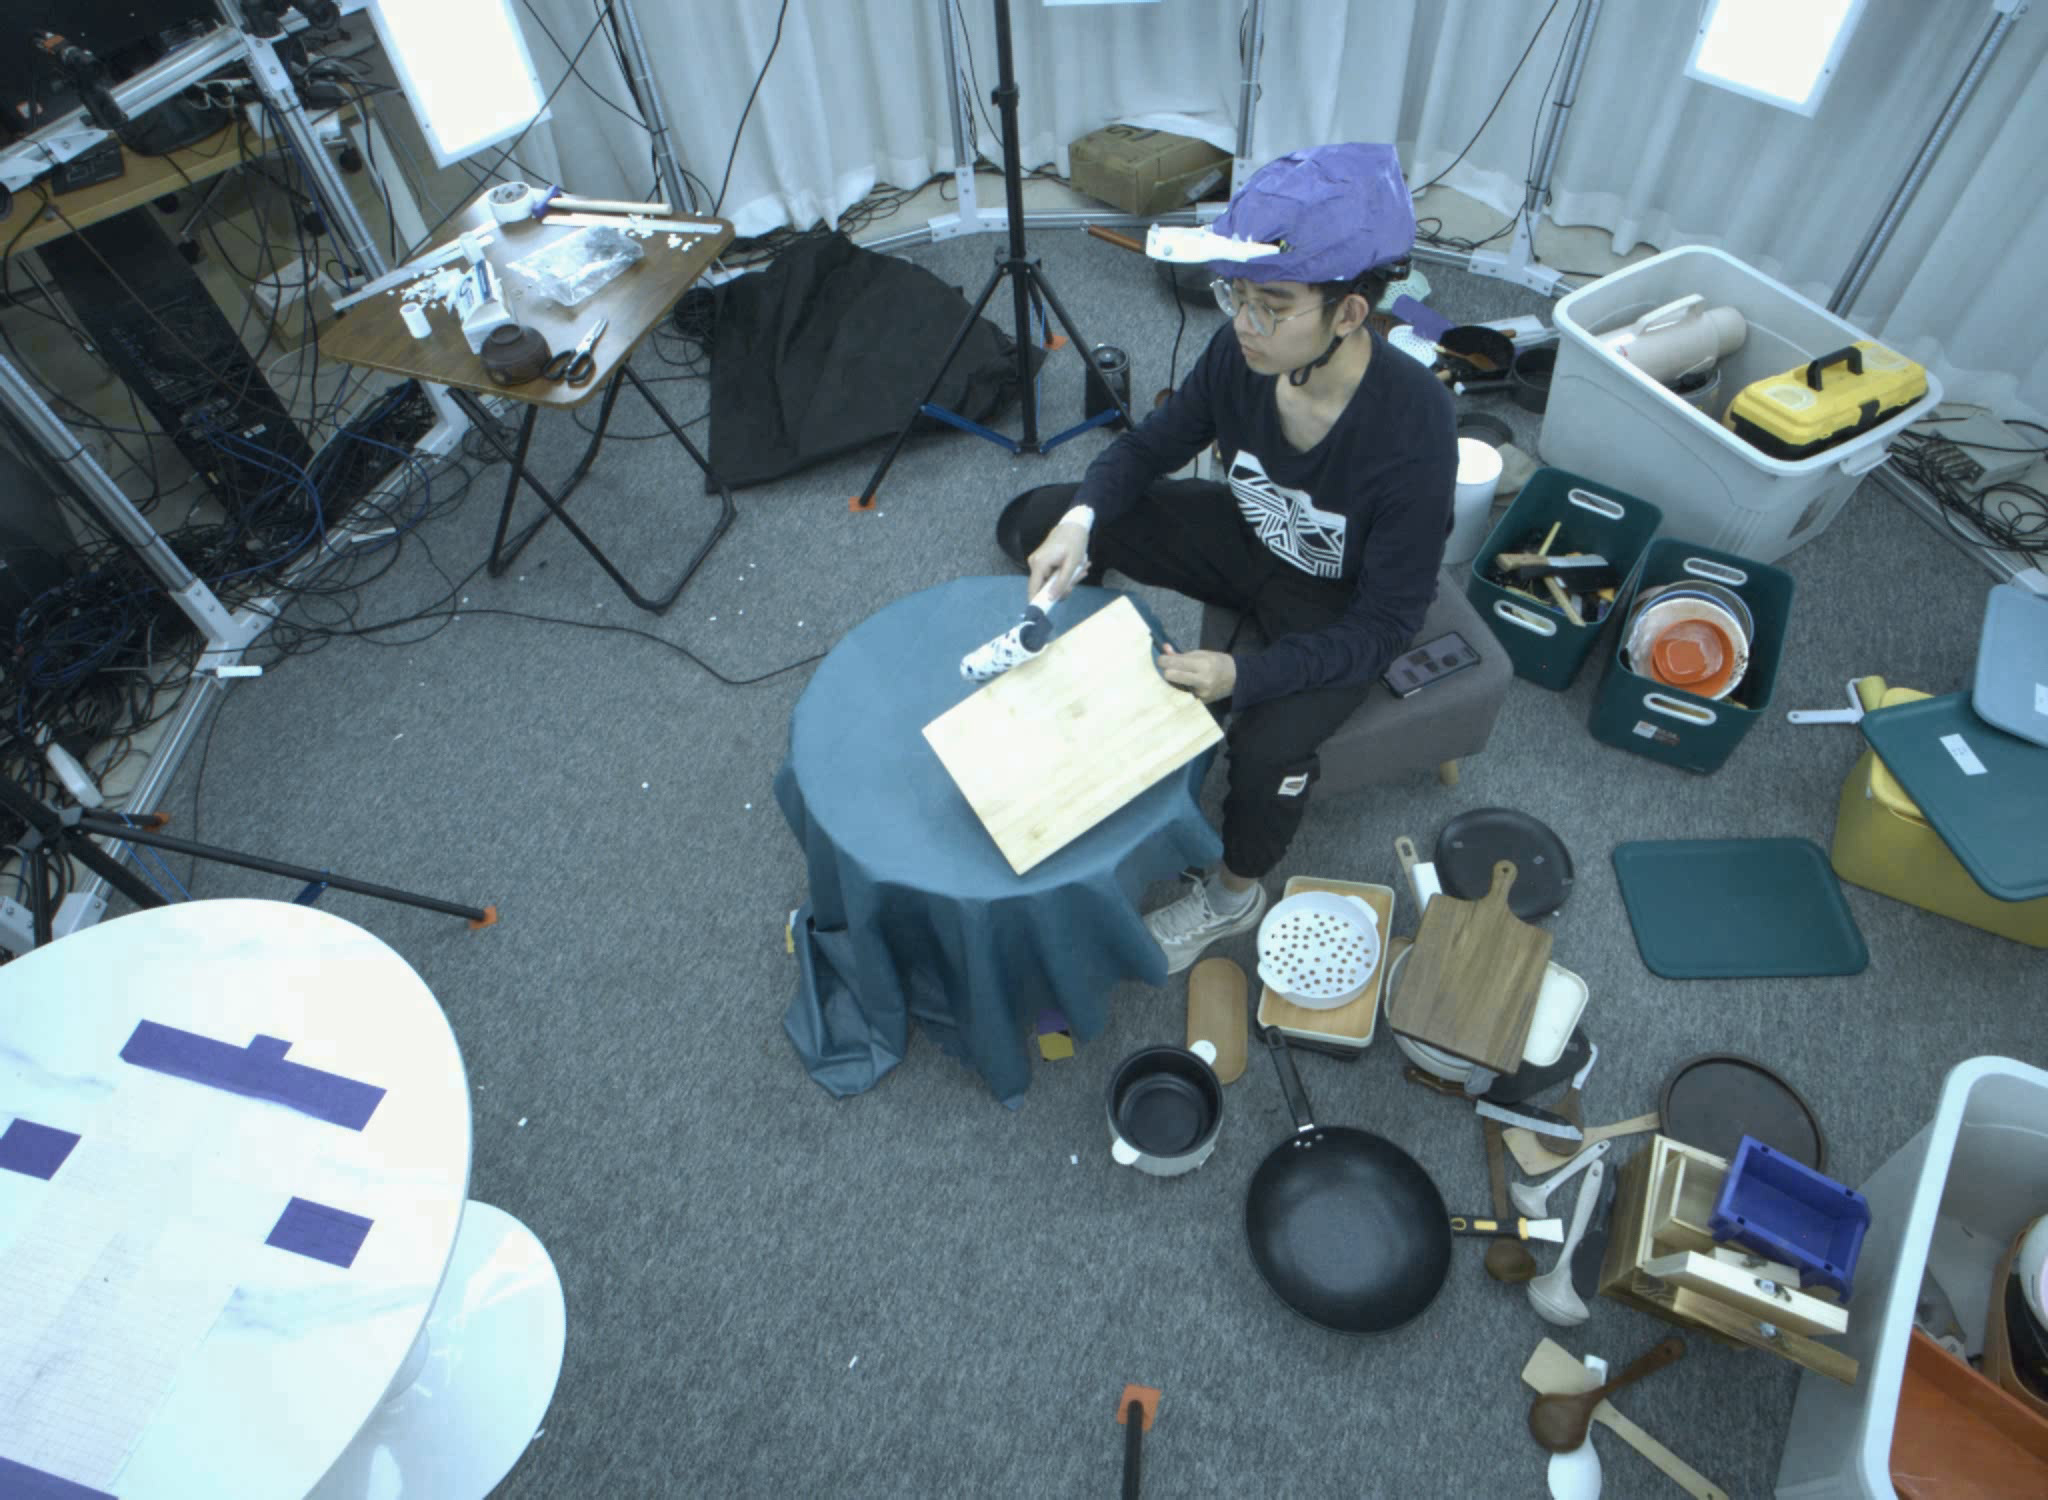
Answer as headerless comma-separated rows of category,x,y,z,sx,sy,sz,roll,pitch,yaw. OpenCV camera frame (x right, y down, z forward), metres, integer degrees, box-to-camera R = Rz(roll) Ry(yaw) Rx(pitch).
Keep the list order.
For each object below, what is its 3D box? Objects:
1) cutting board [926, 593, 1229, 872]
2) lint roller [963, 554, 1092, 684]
cutting board,0.071,-0.027,1.694,0.349,0.023,0.250,-34,86,-6
lint roller,0.021,-0.204,1.752,0.051,0.173,0.248,44,58,-14
